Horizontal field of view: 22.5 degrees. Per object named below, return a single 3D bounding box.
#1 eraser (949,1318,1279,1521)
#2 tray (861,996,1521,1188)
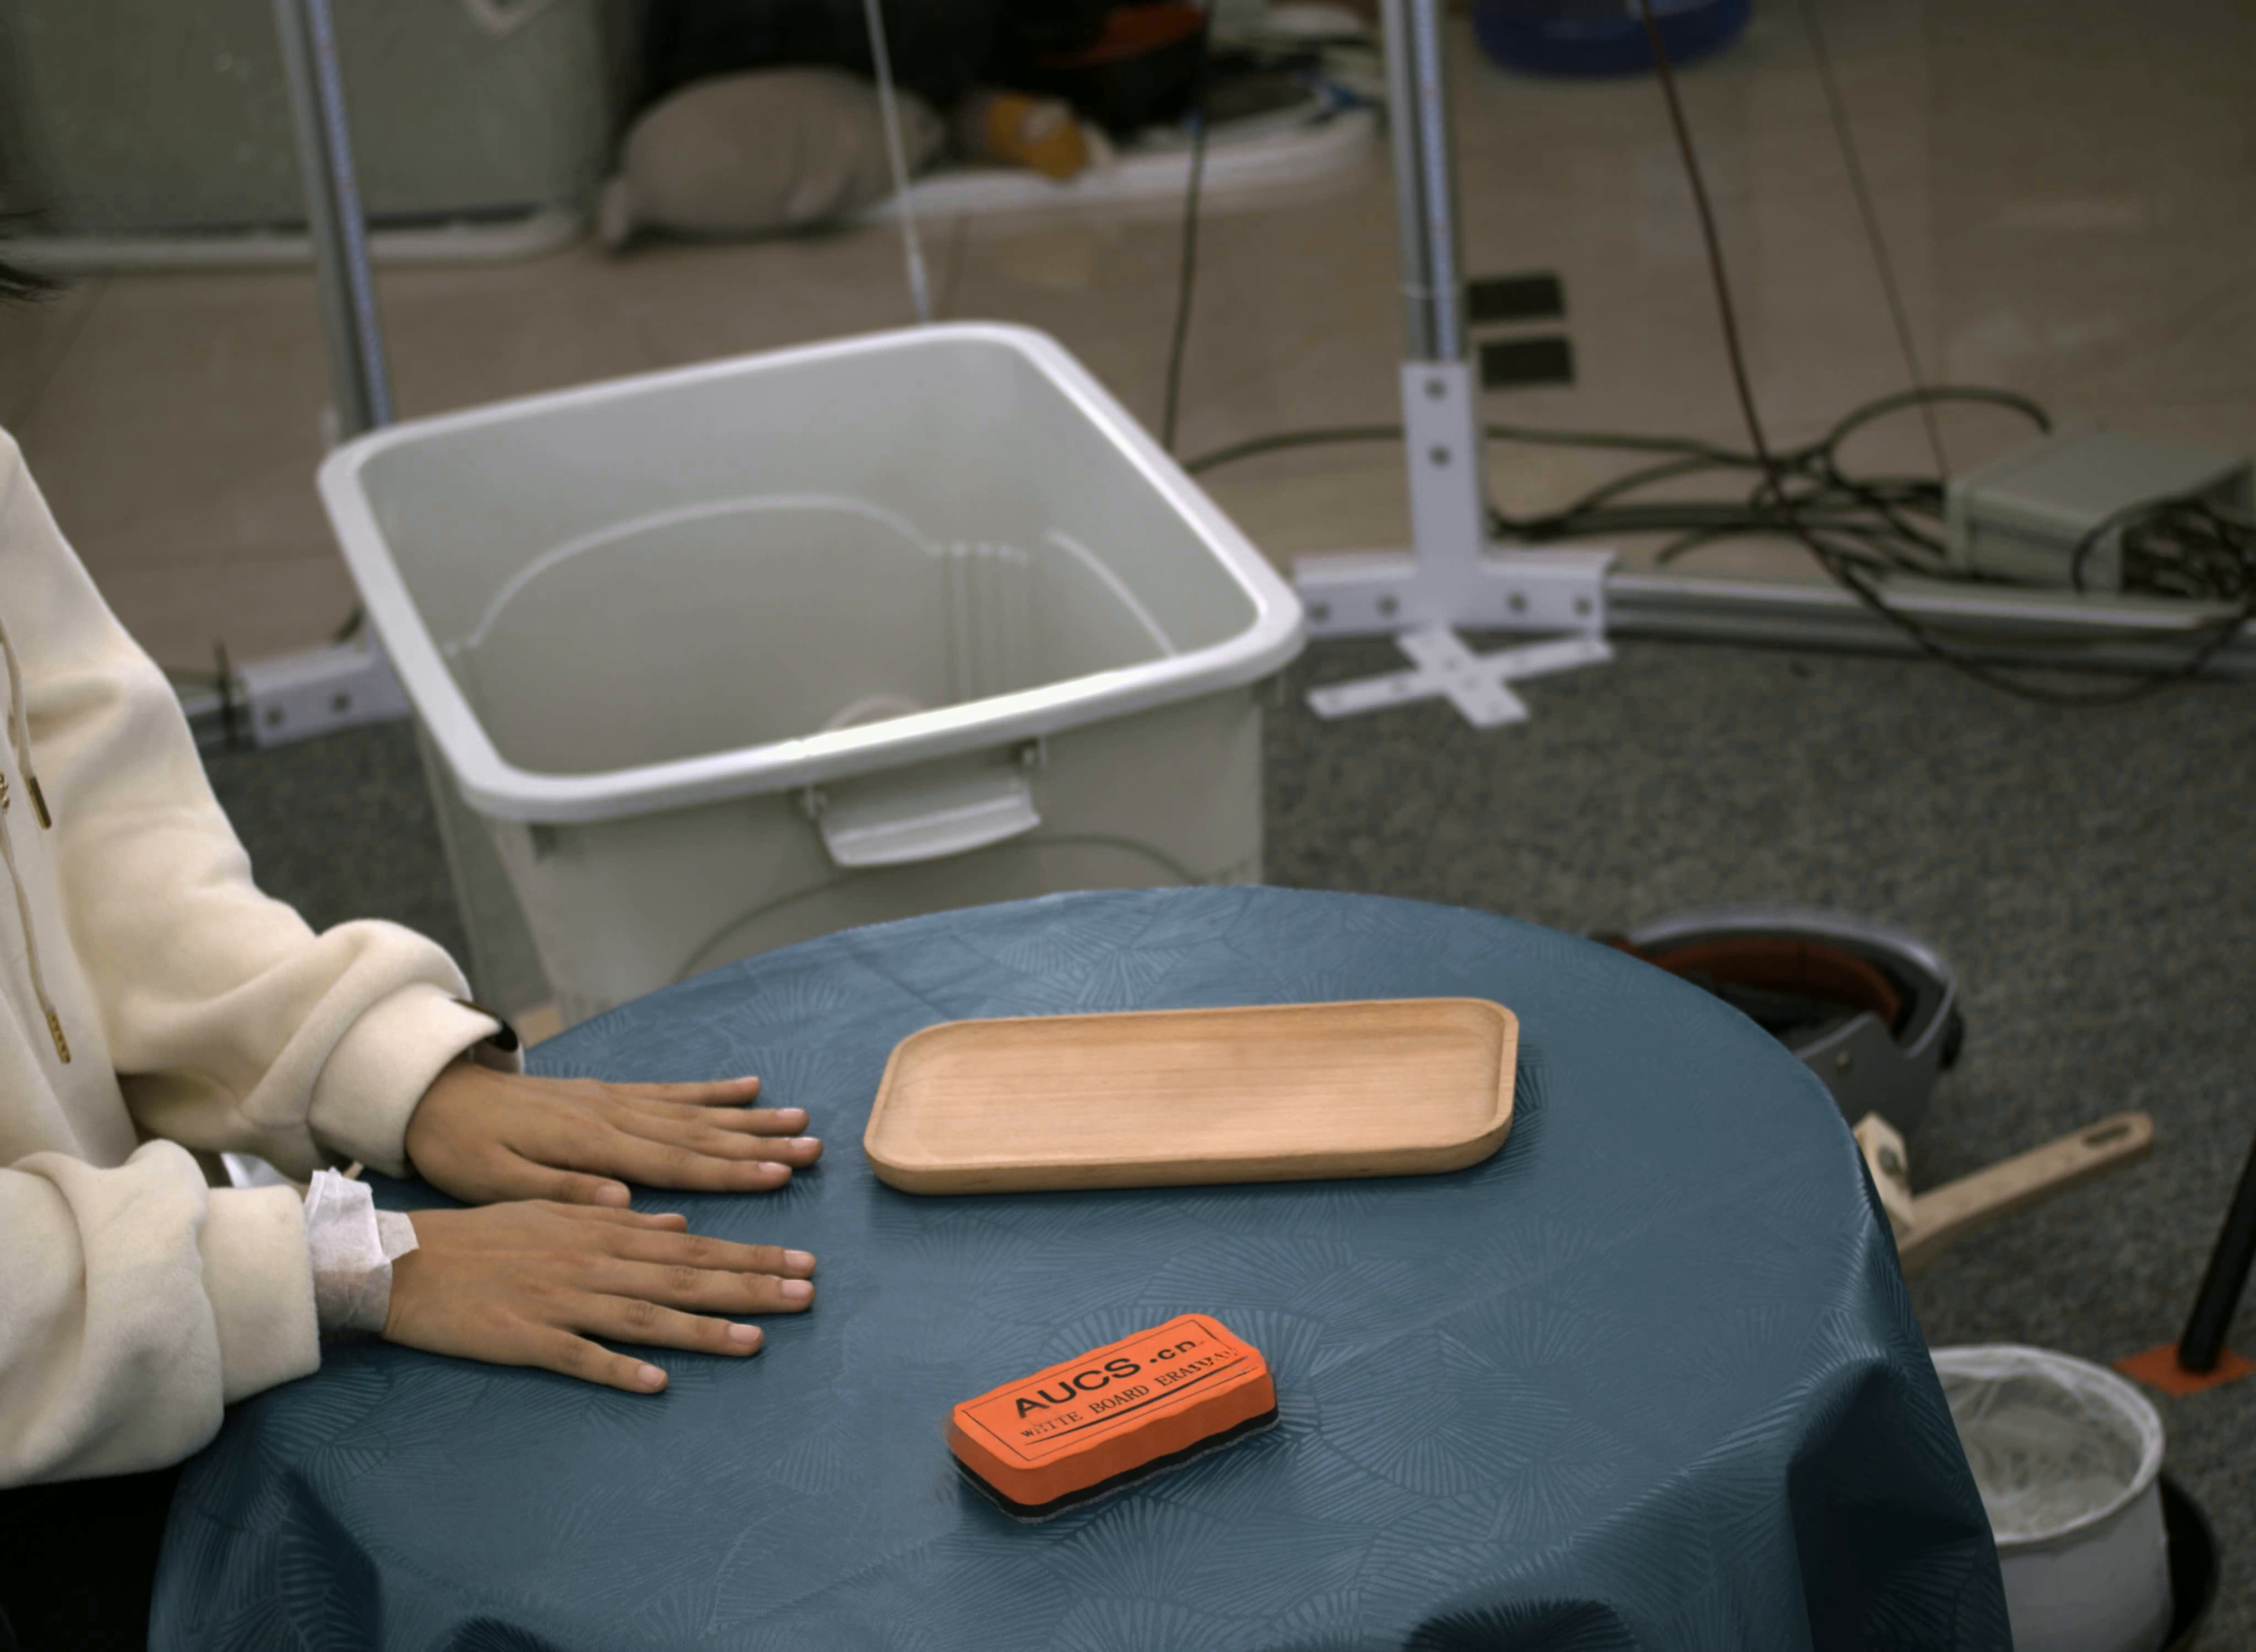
[{"bbox_3d":[-0.005,0.206,1.978,0.107,0.023,0.058,-18,29,-25],"label":"eraser"},{"bbox_3d":[0.025,0.103,2.197,0.250,0.023,0.129,-2,22,9],"label":"tray"}]
